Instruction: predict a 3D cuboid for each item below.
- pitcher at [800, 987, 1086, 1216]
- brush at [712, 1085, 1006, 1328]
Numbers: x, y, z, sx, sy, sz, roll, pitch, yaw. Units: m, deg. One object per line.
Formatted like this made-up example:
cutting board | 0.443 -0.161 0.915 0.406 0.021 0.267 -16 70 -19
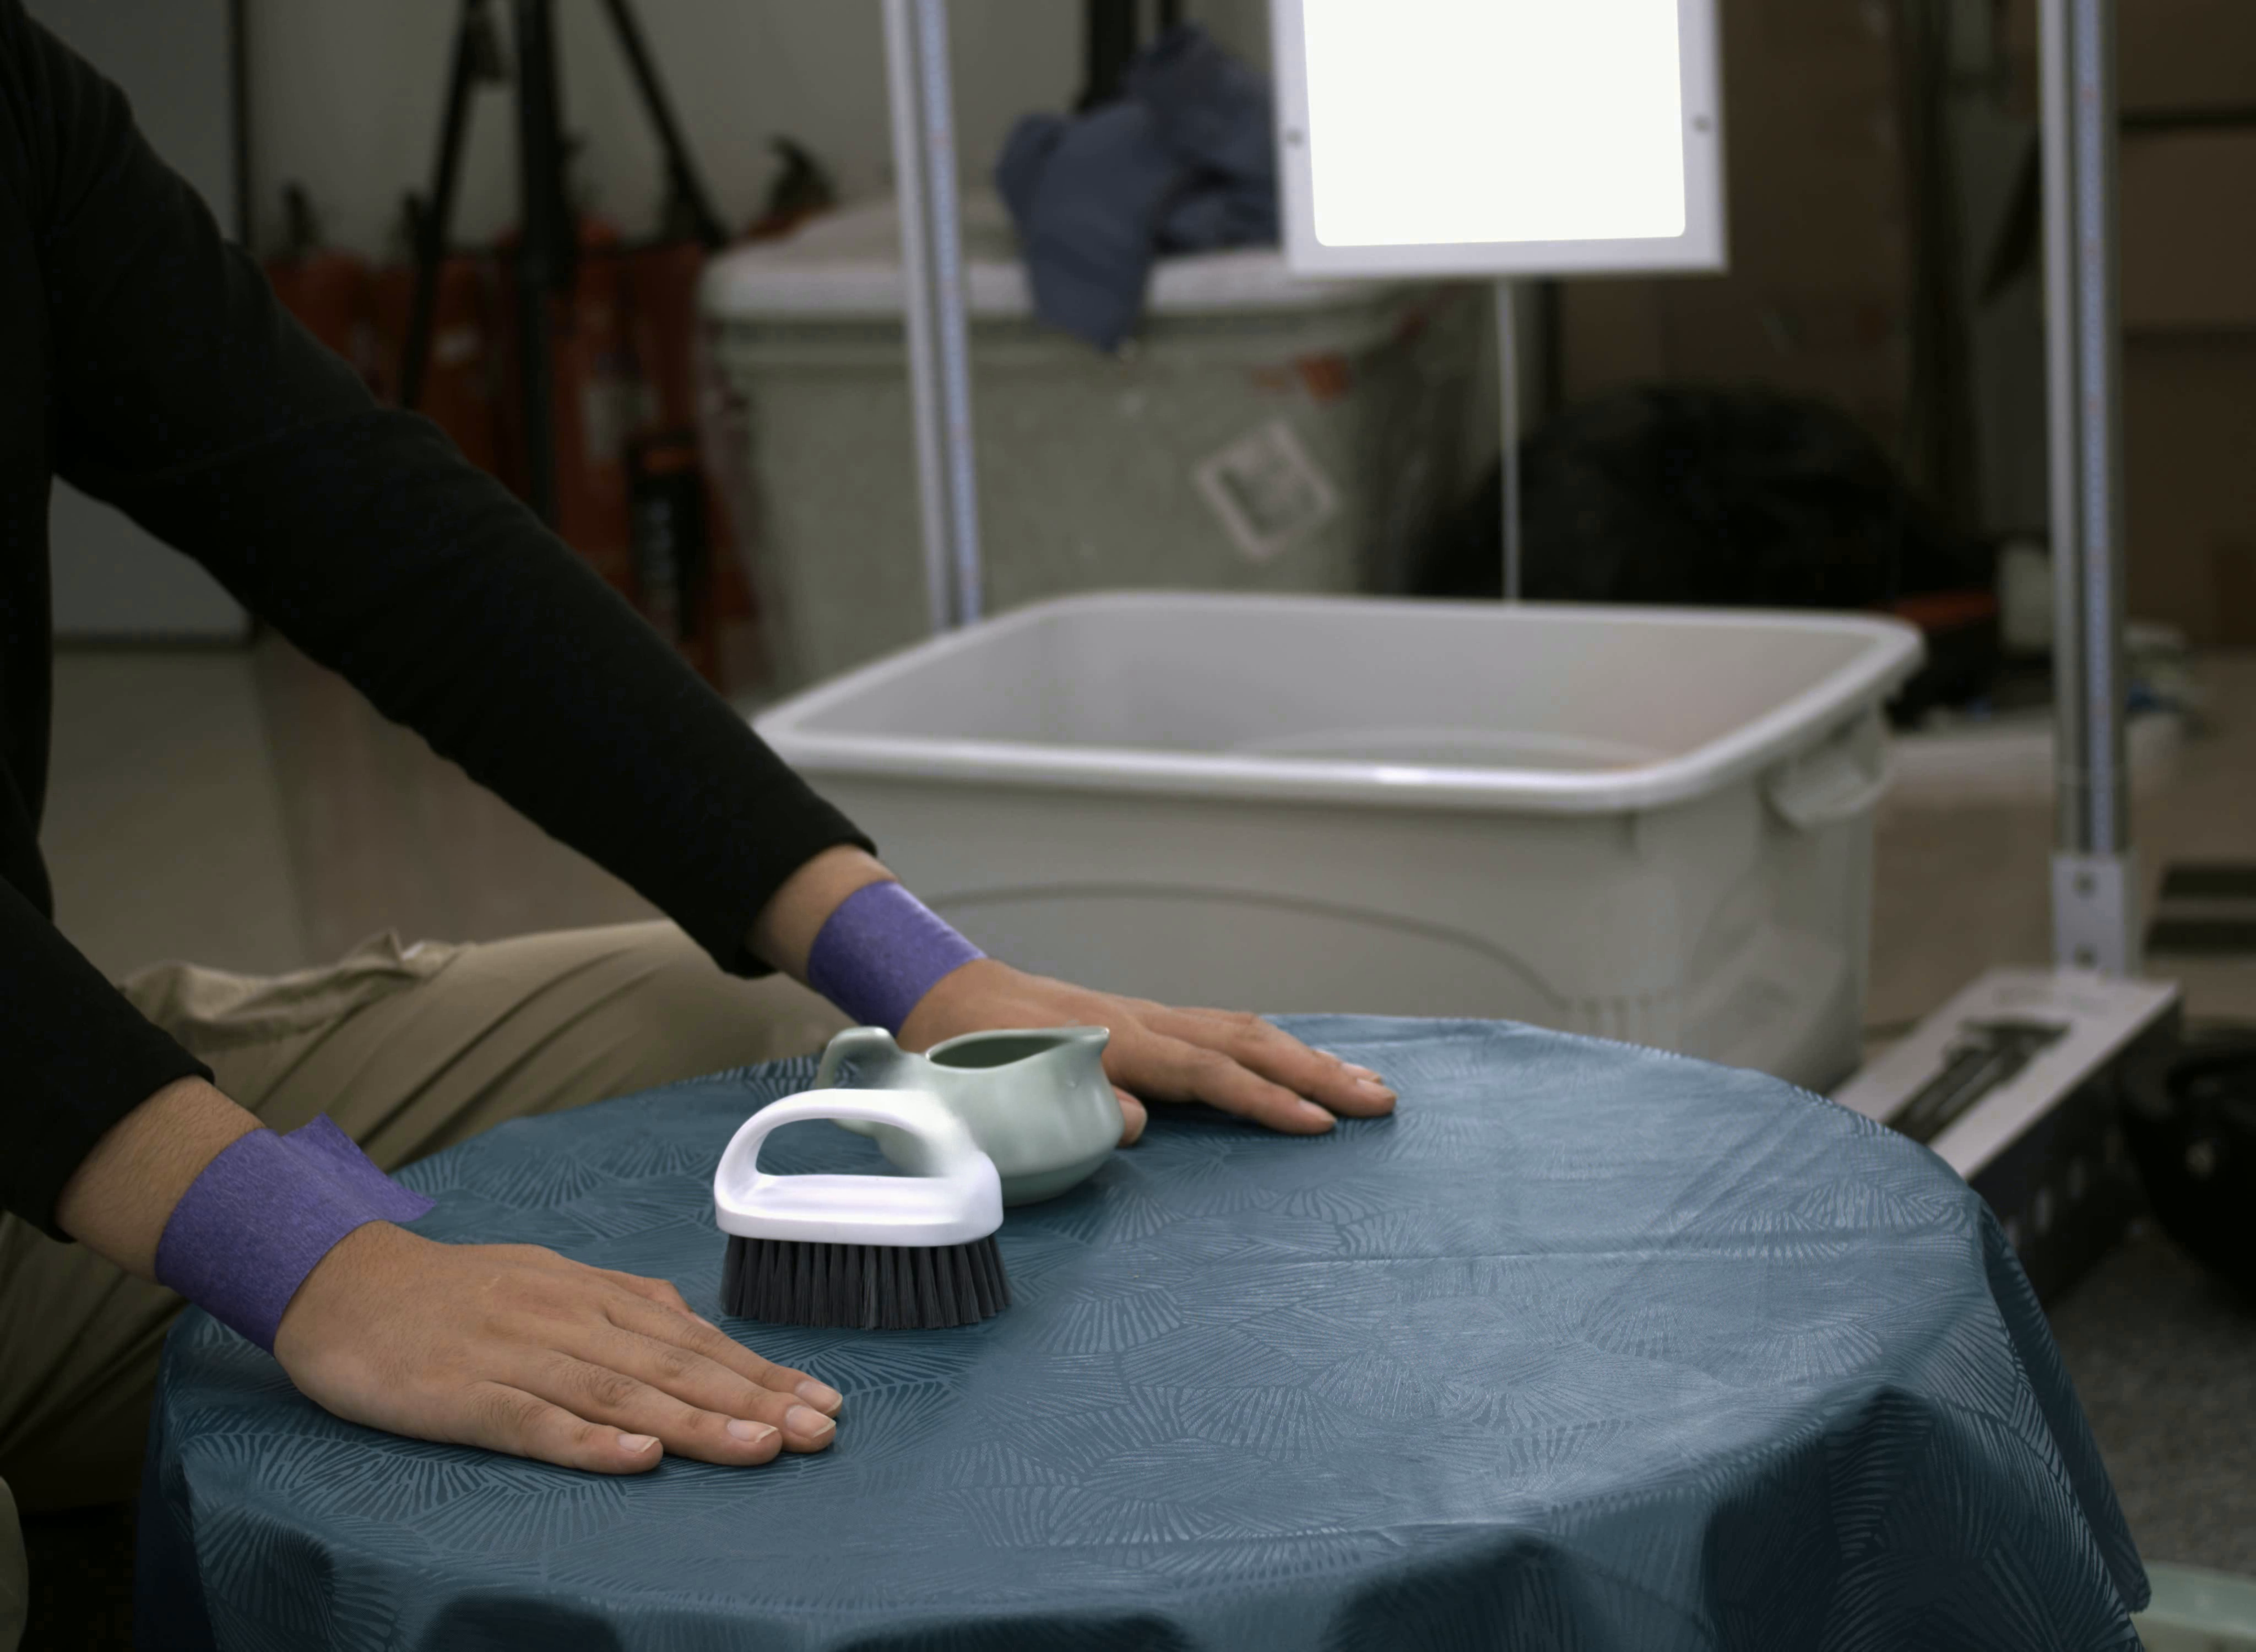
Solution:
pitcher | -0.066 0.095 1.914 0.109 0.061 0.084 18 33 19
brush | -0.089 0.120 1.797 0.101 0.073 0.049 3 14 25
